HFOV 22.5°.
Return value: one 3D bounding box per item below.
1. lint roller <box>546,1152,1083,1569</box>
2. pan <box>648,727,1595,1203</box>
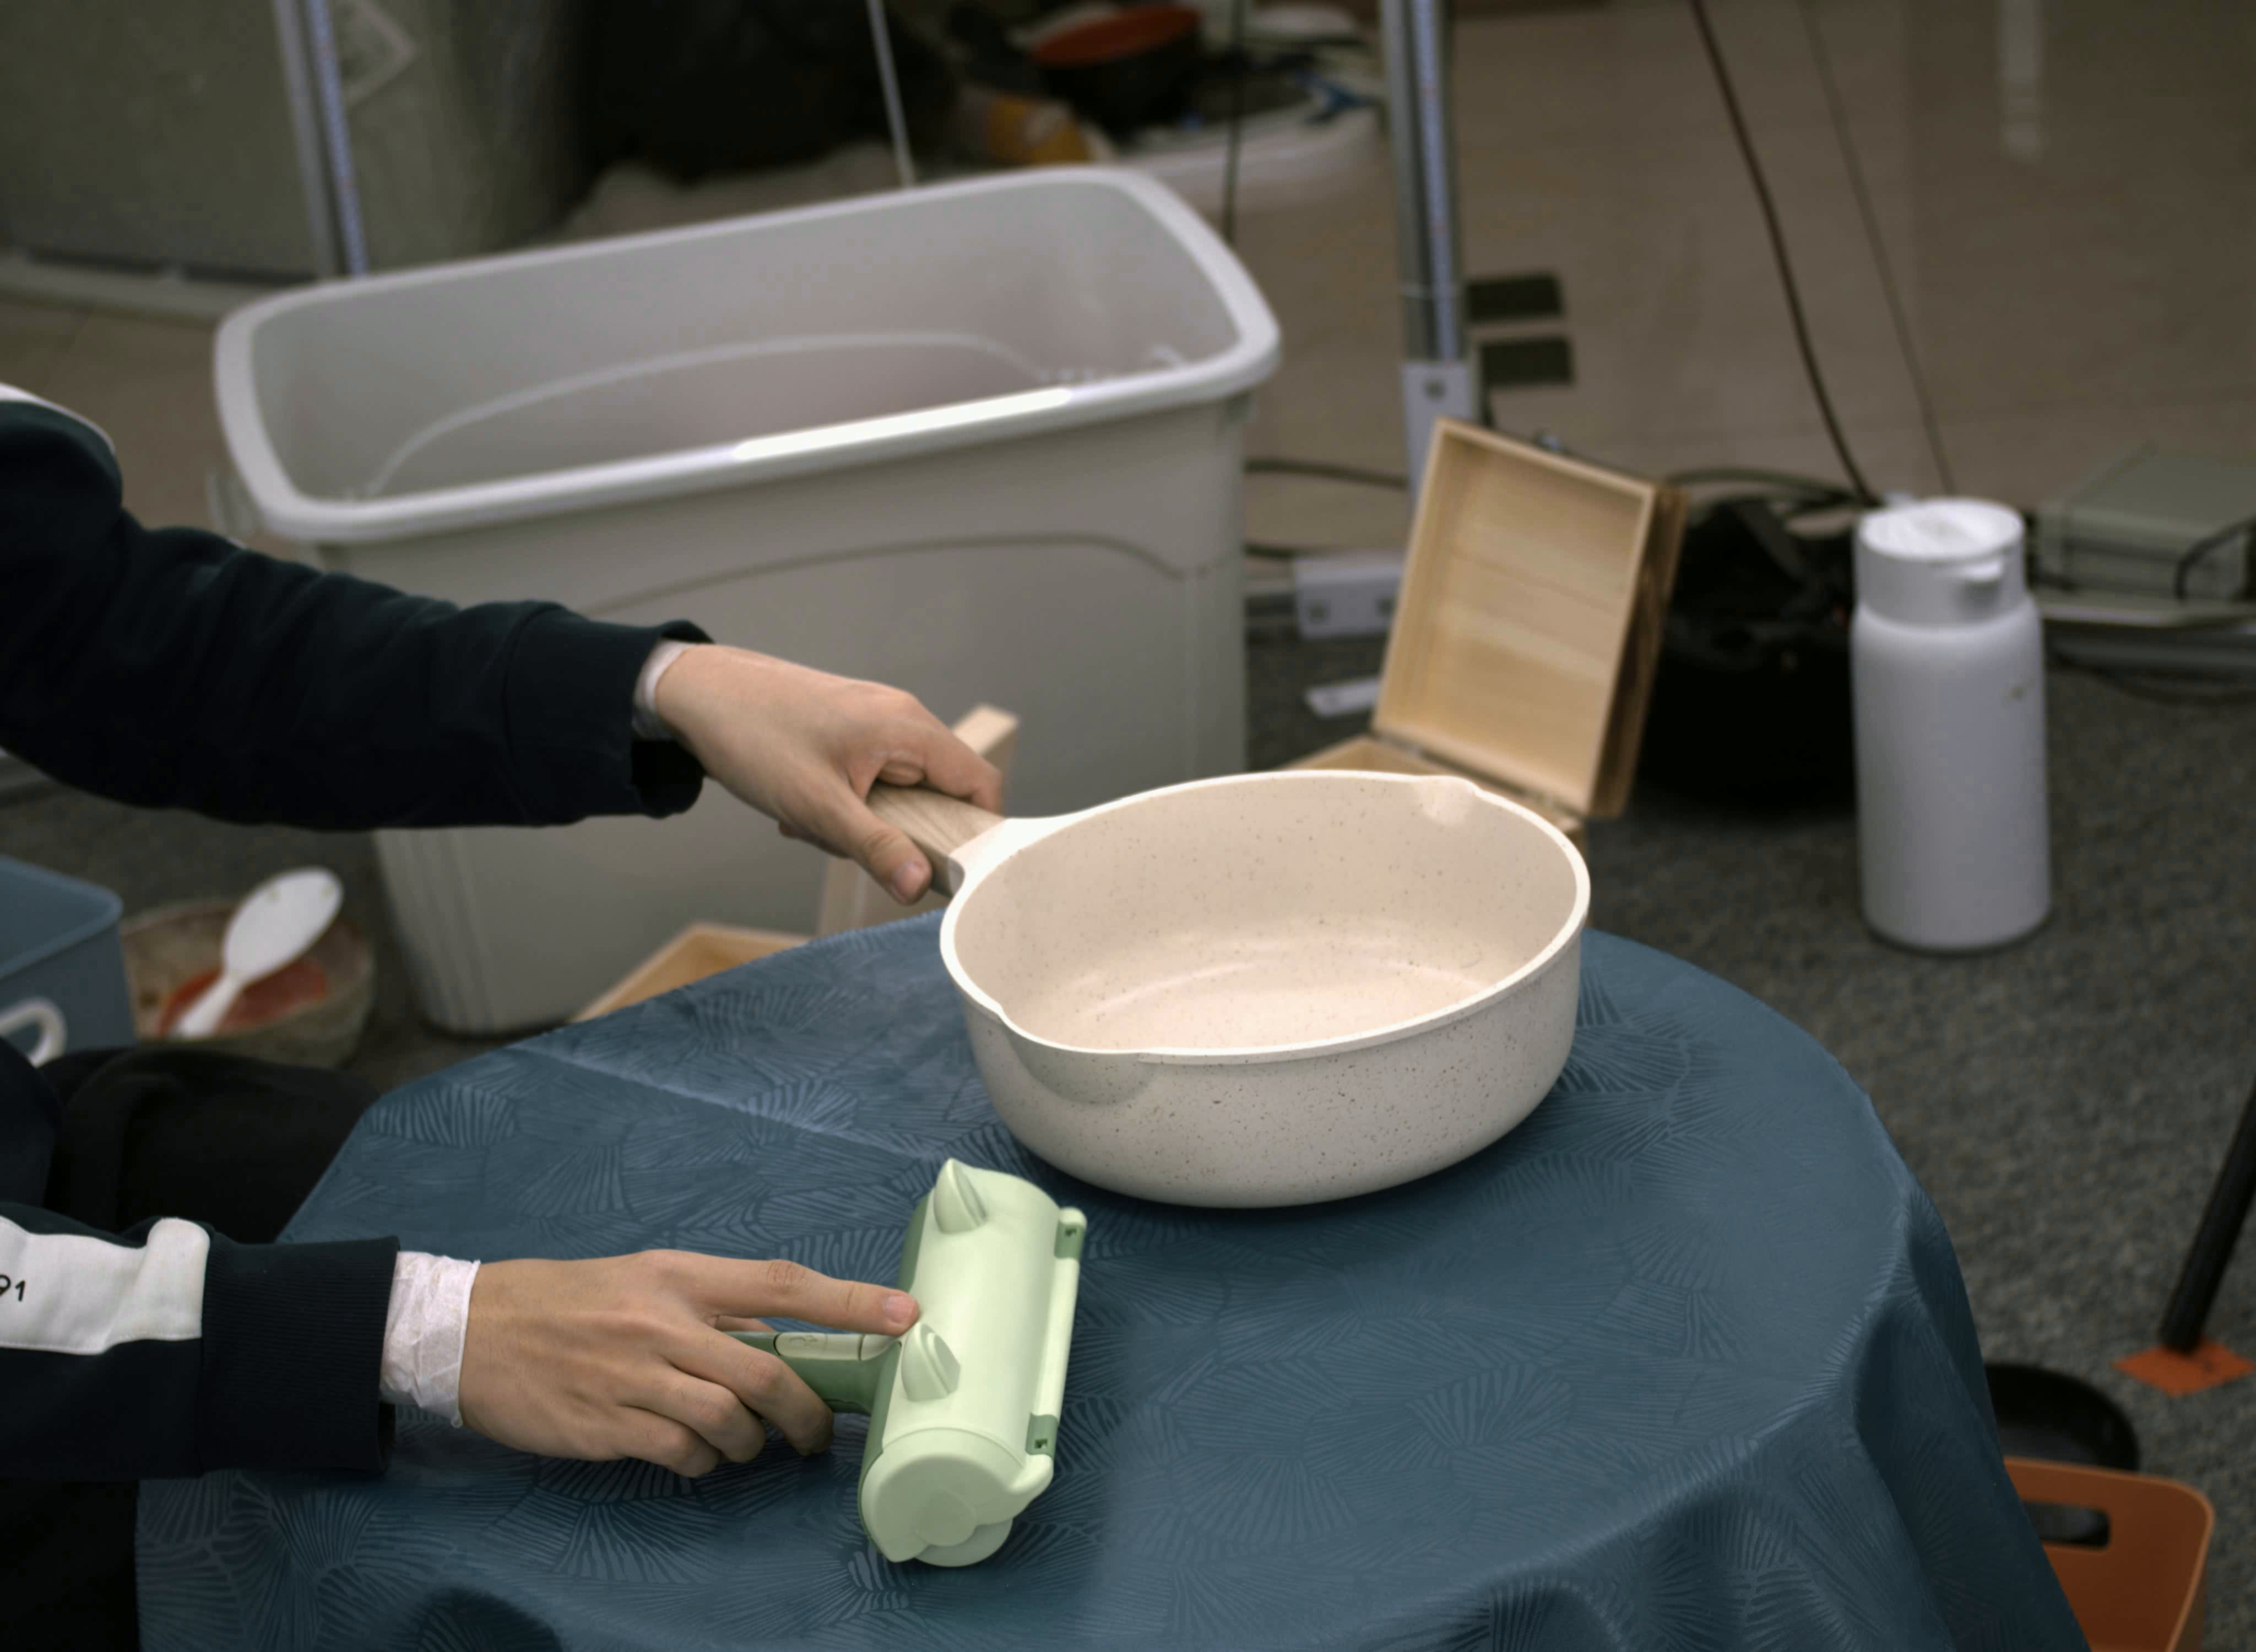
[{"bbox_3d":[-0.113,0.177,1.986,0.183,0.083,0.195,4,27,2],"label":"lint roller"},{"bbox_3d":[-0.015,0.041,2.239,0.432,0.103,0.260,12,32,36],"label":"pan"}]
